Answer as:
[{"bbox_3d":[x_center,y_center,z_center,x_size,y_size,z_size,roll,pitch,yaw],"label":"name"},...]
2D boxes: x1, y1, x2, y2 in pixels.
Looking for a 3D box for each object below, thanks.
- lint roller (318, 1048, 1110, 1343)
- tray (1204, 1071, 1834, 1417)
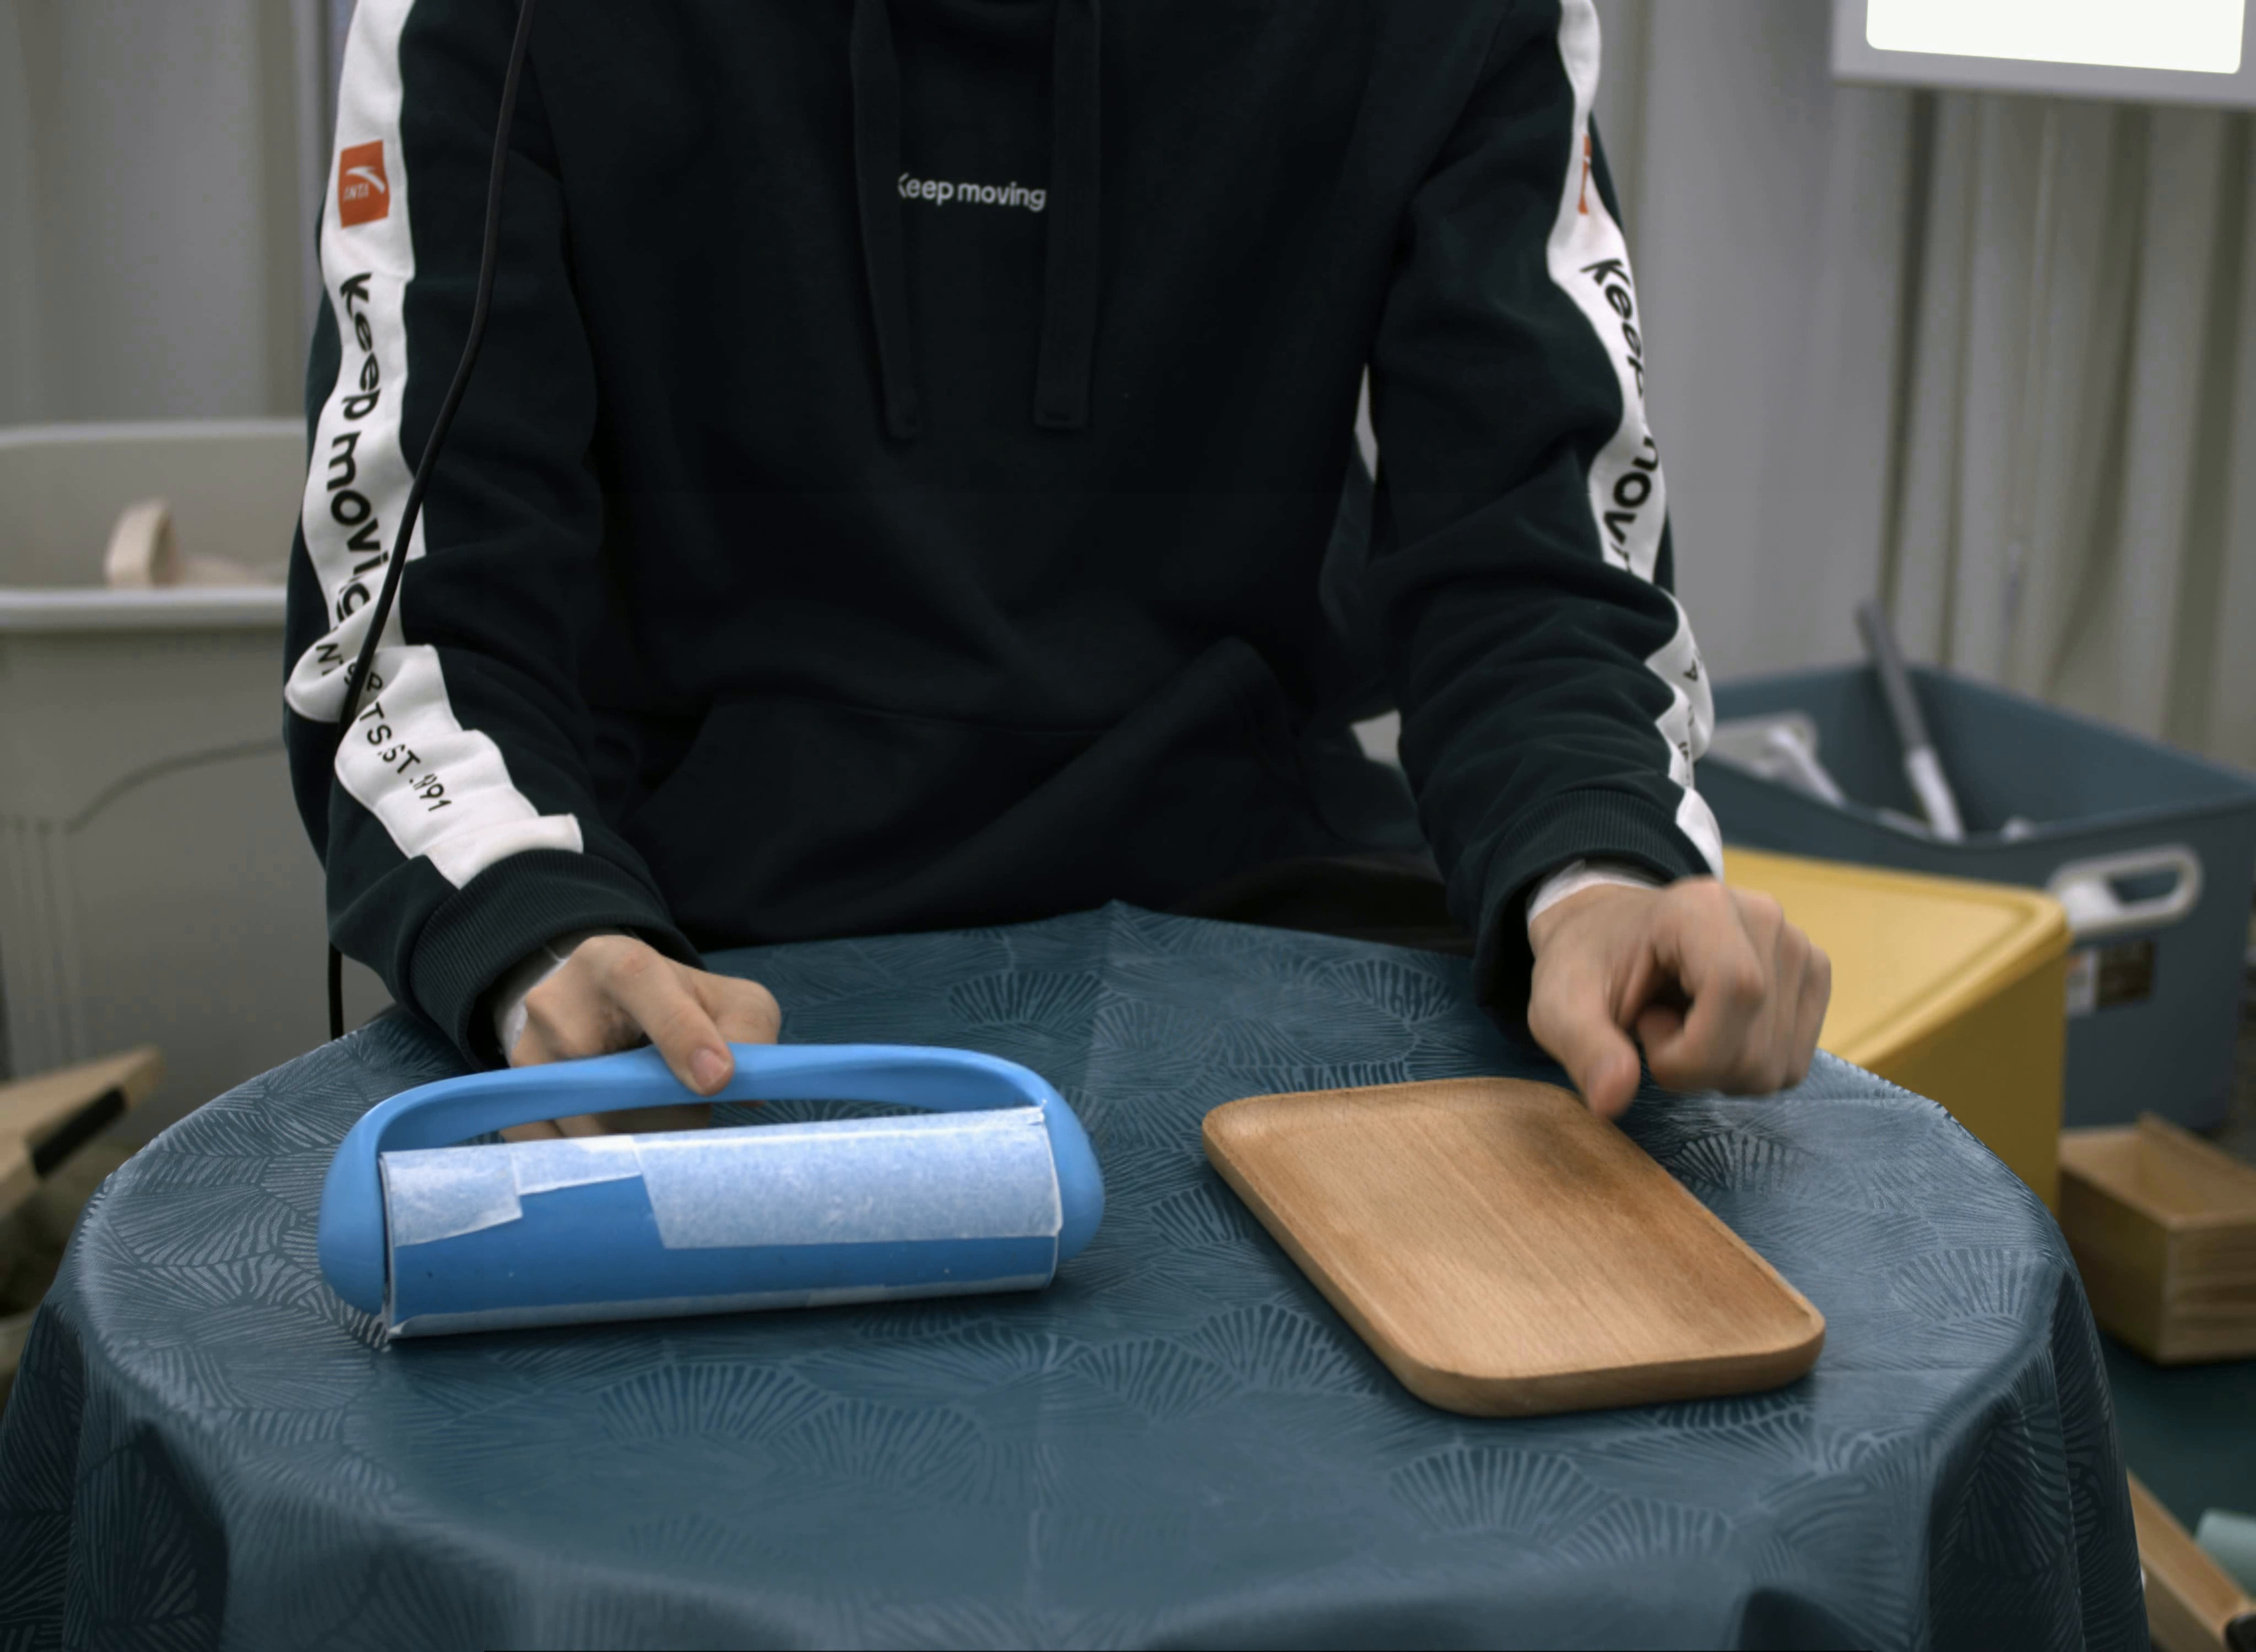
[{"bbox_3d":[-0.133,0.097,1.564,0.229,0.068,0.178,-5,17,-15],"label":"lint roller"},{"bbox_3d":[0.111,0.121,1.560,0.131,0.023,0.248,-1,15,-15],"label":"tray"}]
